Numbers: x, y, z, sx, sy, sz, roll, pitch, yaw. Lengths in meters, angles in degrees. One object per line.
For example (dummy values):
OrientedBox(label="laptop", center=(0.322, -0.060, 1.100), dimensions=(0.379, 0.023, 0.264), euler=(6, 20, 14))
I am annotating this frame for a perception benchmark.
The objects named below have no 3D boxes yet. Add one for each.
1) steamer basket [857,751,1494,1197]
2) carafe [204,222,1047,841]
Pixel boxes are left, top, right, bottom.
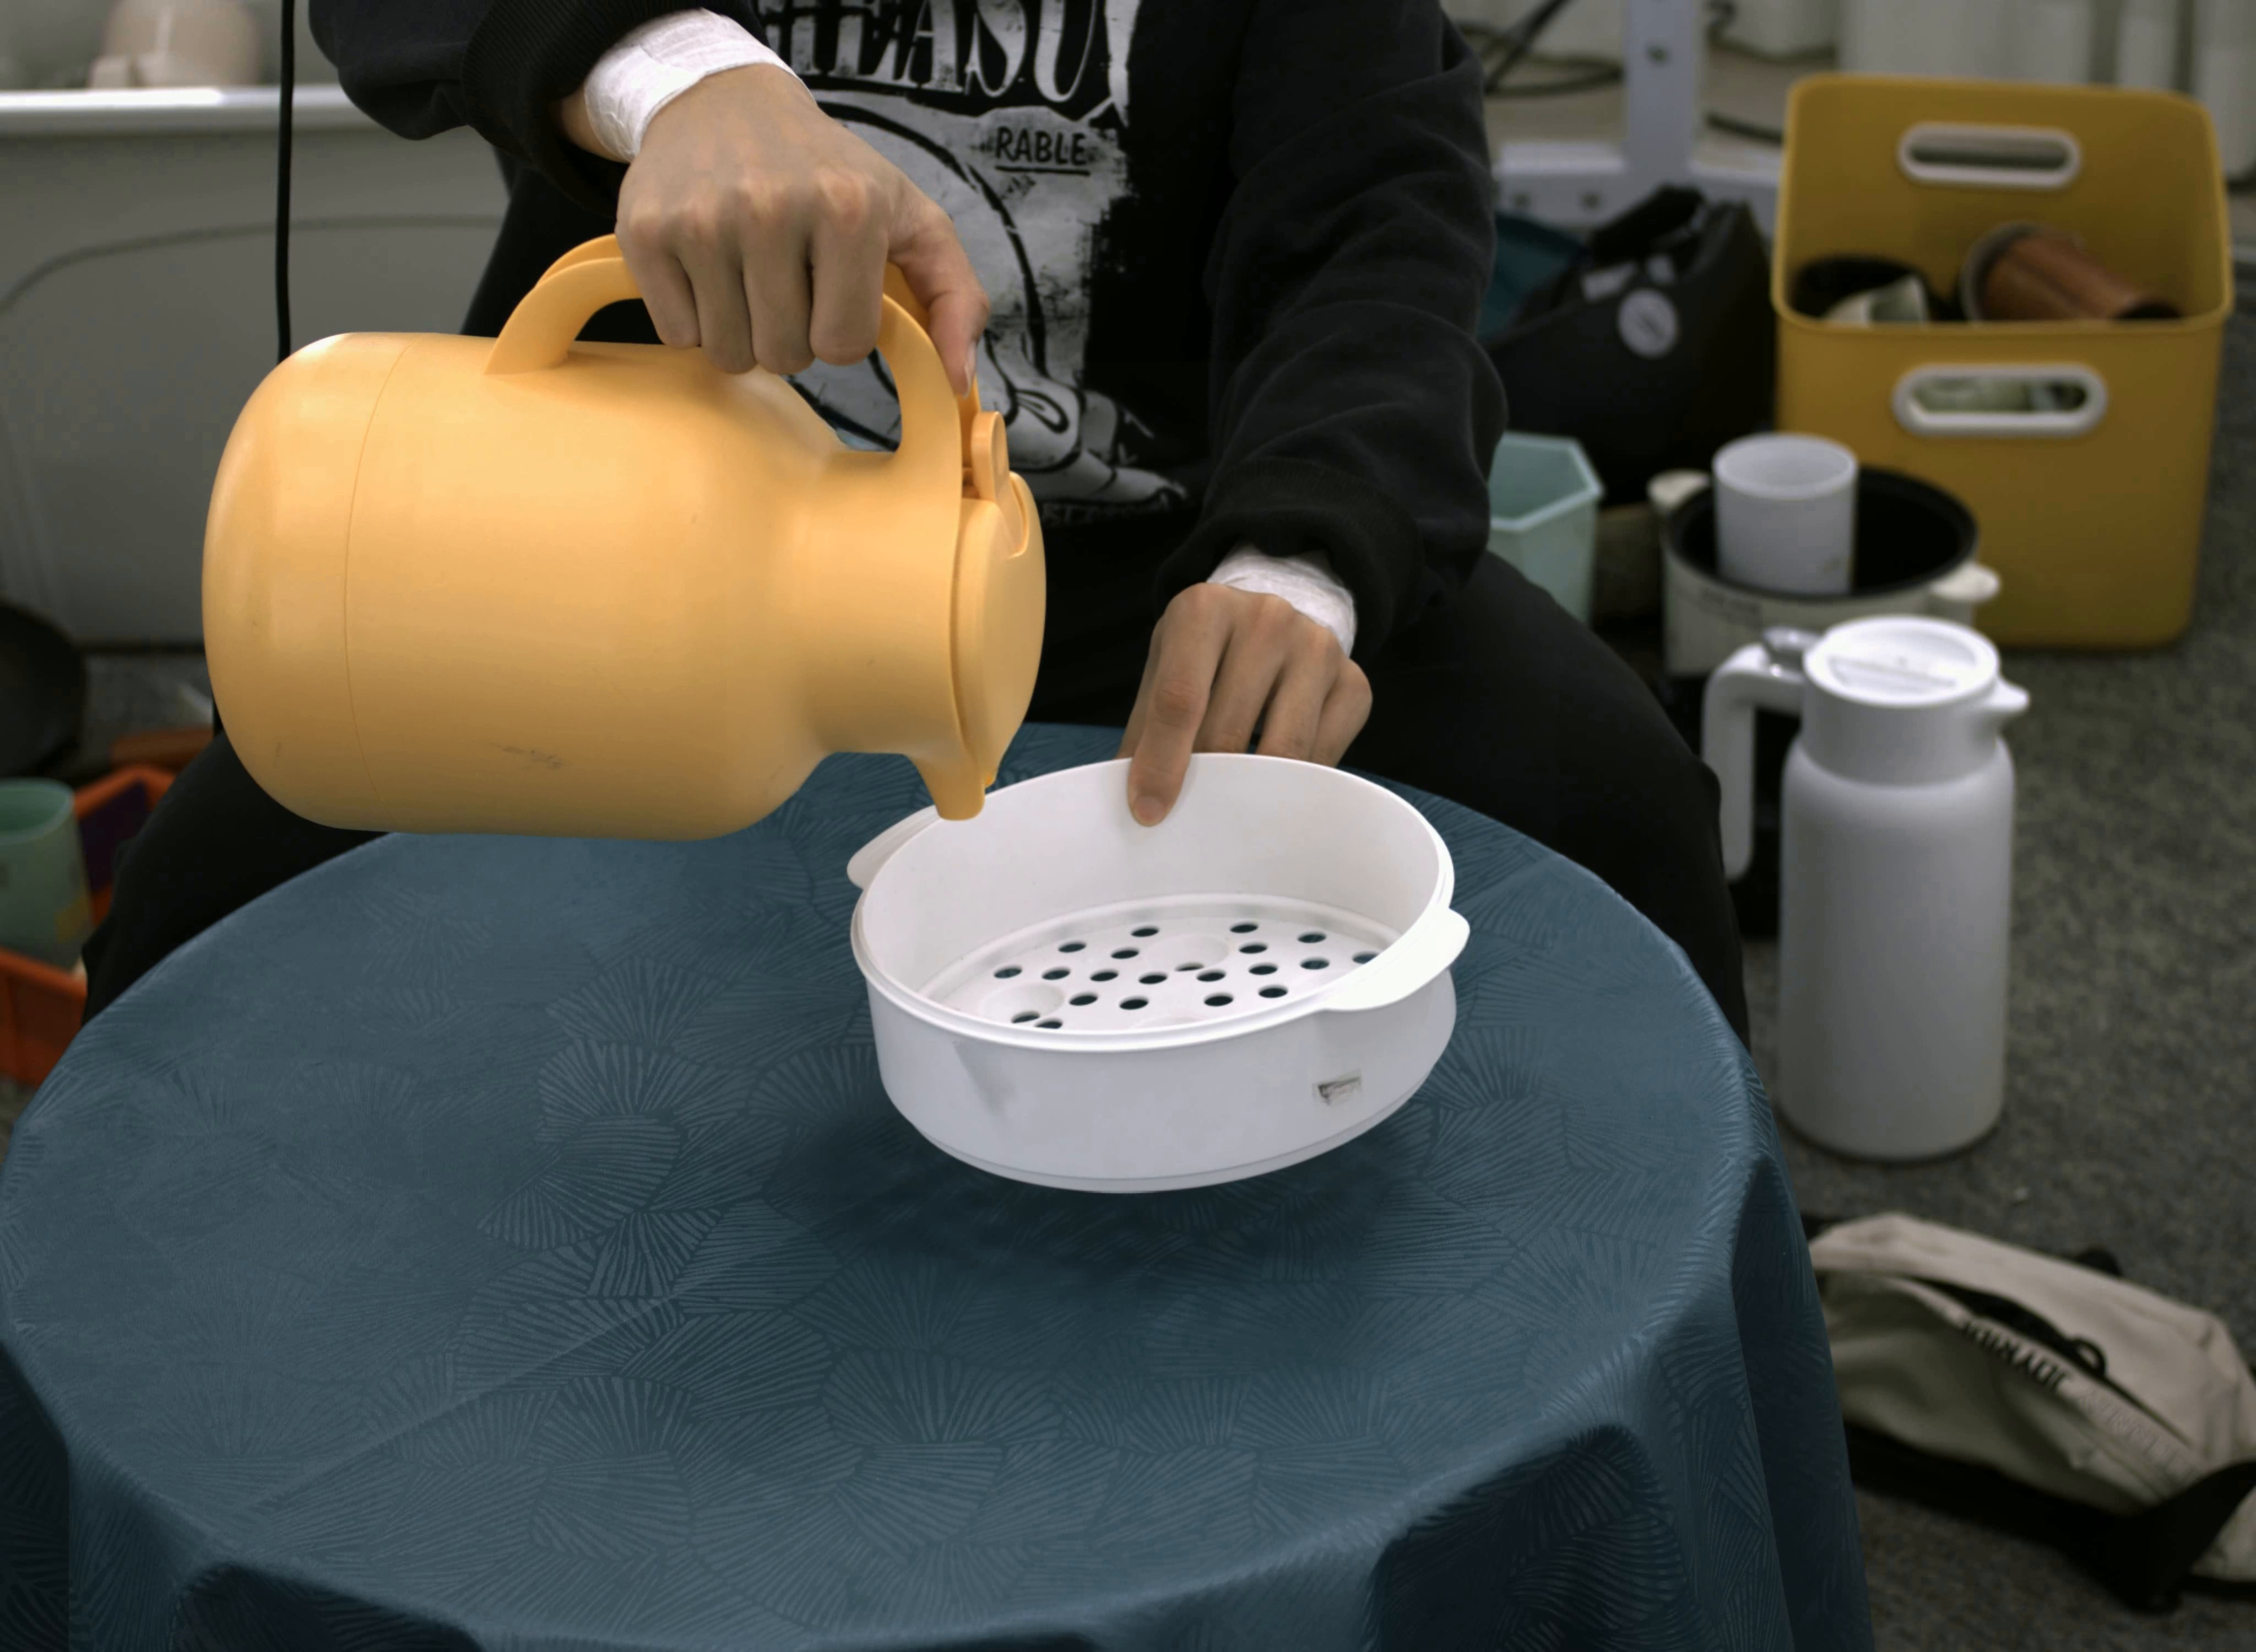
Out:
OrientedBox(label="steamer basket", center=(0.015, 0.049, 1.853), dimensions=(0.229, 0.068, 0.205), euler=(16, 33, 33))
OrientedBox(label="carafe", center=(-0.157, -0.095, 1.808), dimensions=(0.259, 0.201, 0.166), euler=(3, 22, 8))
